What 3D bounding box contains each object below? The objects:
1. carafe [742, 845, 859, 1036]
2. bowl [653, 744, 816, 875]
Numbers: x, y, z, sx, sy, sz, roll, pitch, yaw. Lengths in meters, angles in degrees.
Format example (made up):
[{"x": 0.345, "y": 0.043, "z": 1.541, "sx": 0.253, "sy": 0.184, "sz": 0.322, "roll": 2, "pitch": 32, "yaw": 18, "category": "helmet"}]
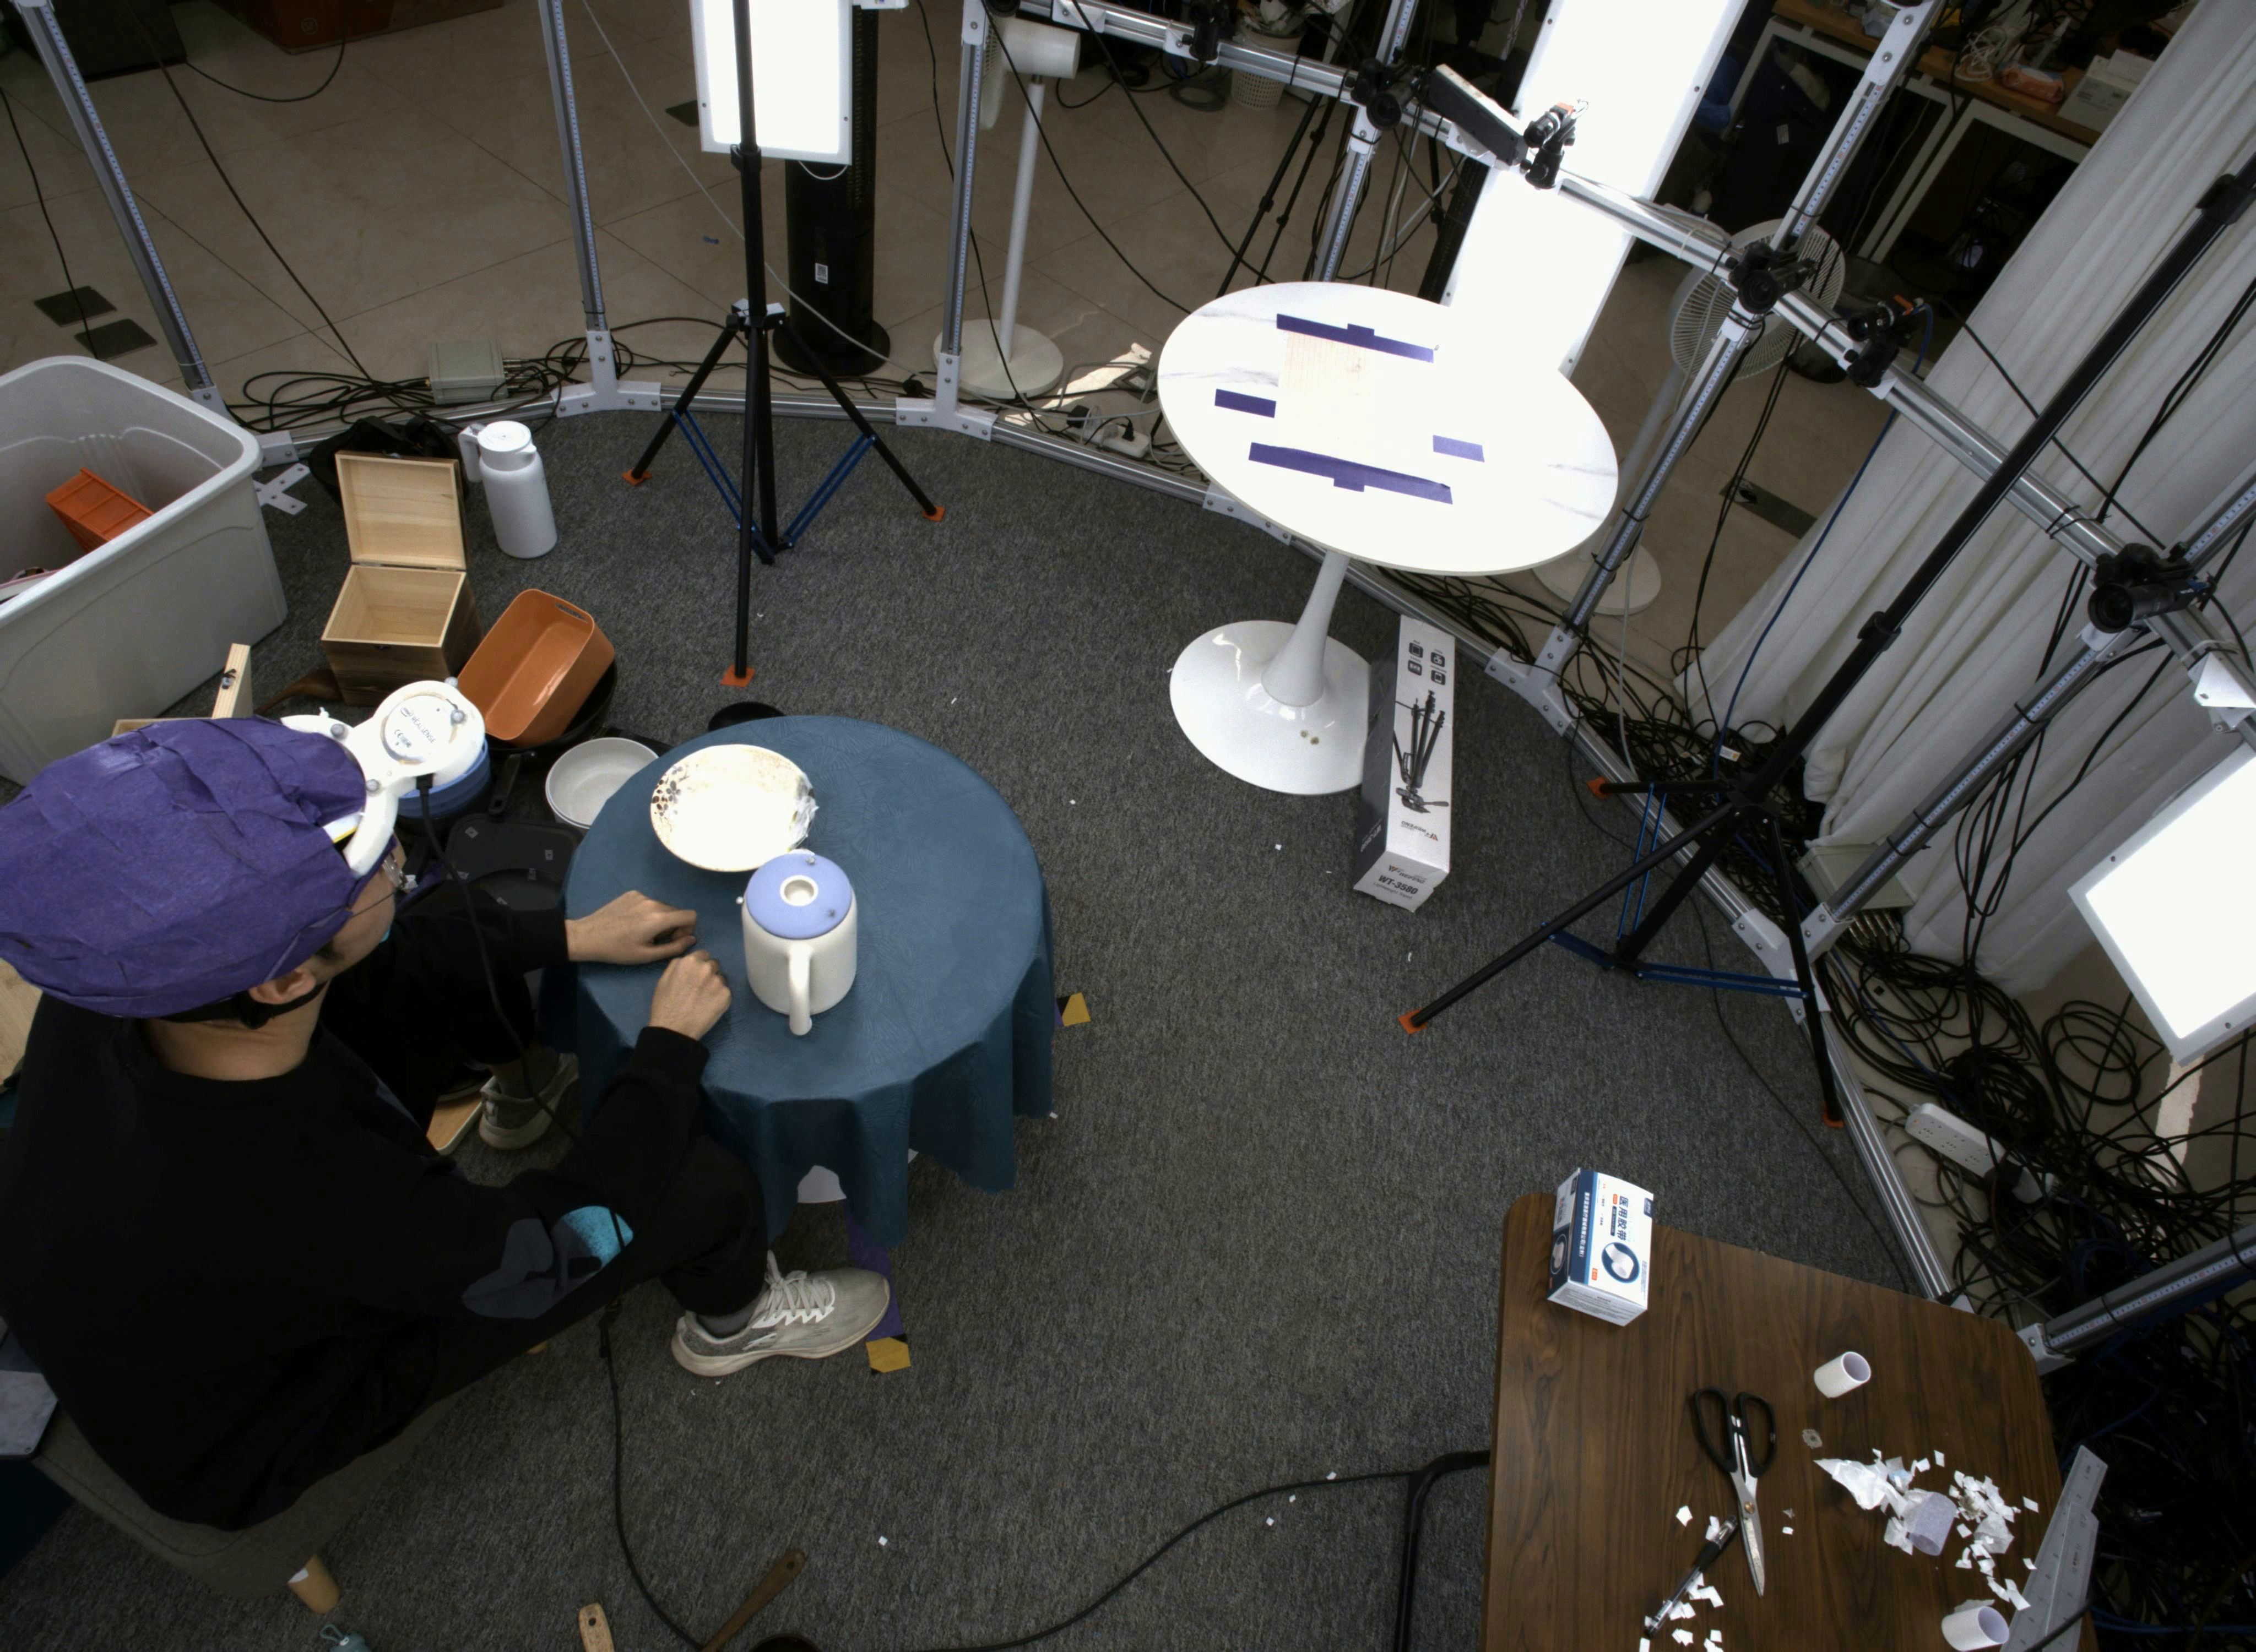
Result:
[{"x": -0.383, "y": 0.145, "z": 1.523, "sx": 0.132, "sy": 0.186, "sz": 0.187, "roll": -3, "pitch": 56, "yaw": -14, "category": "carafe"}, {"x": -0.502, "y": -0.004, "z": 1.666, "sx": 0.203, "sy": 0.079, "sz": 0.200, "roll": 5, "pitch": 55, "yaw": -6, "category": "bowl"}]
